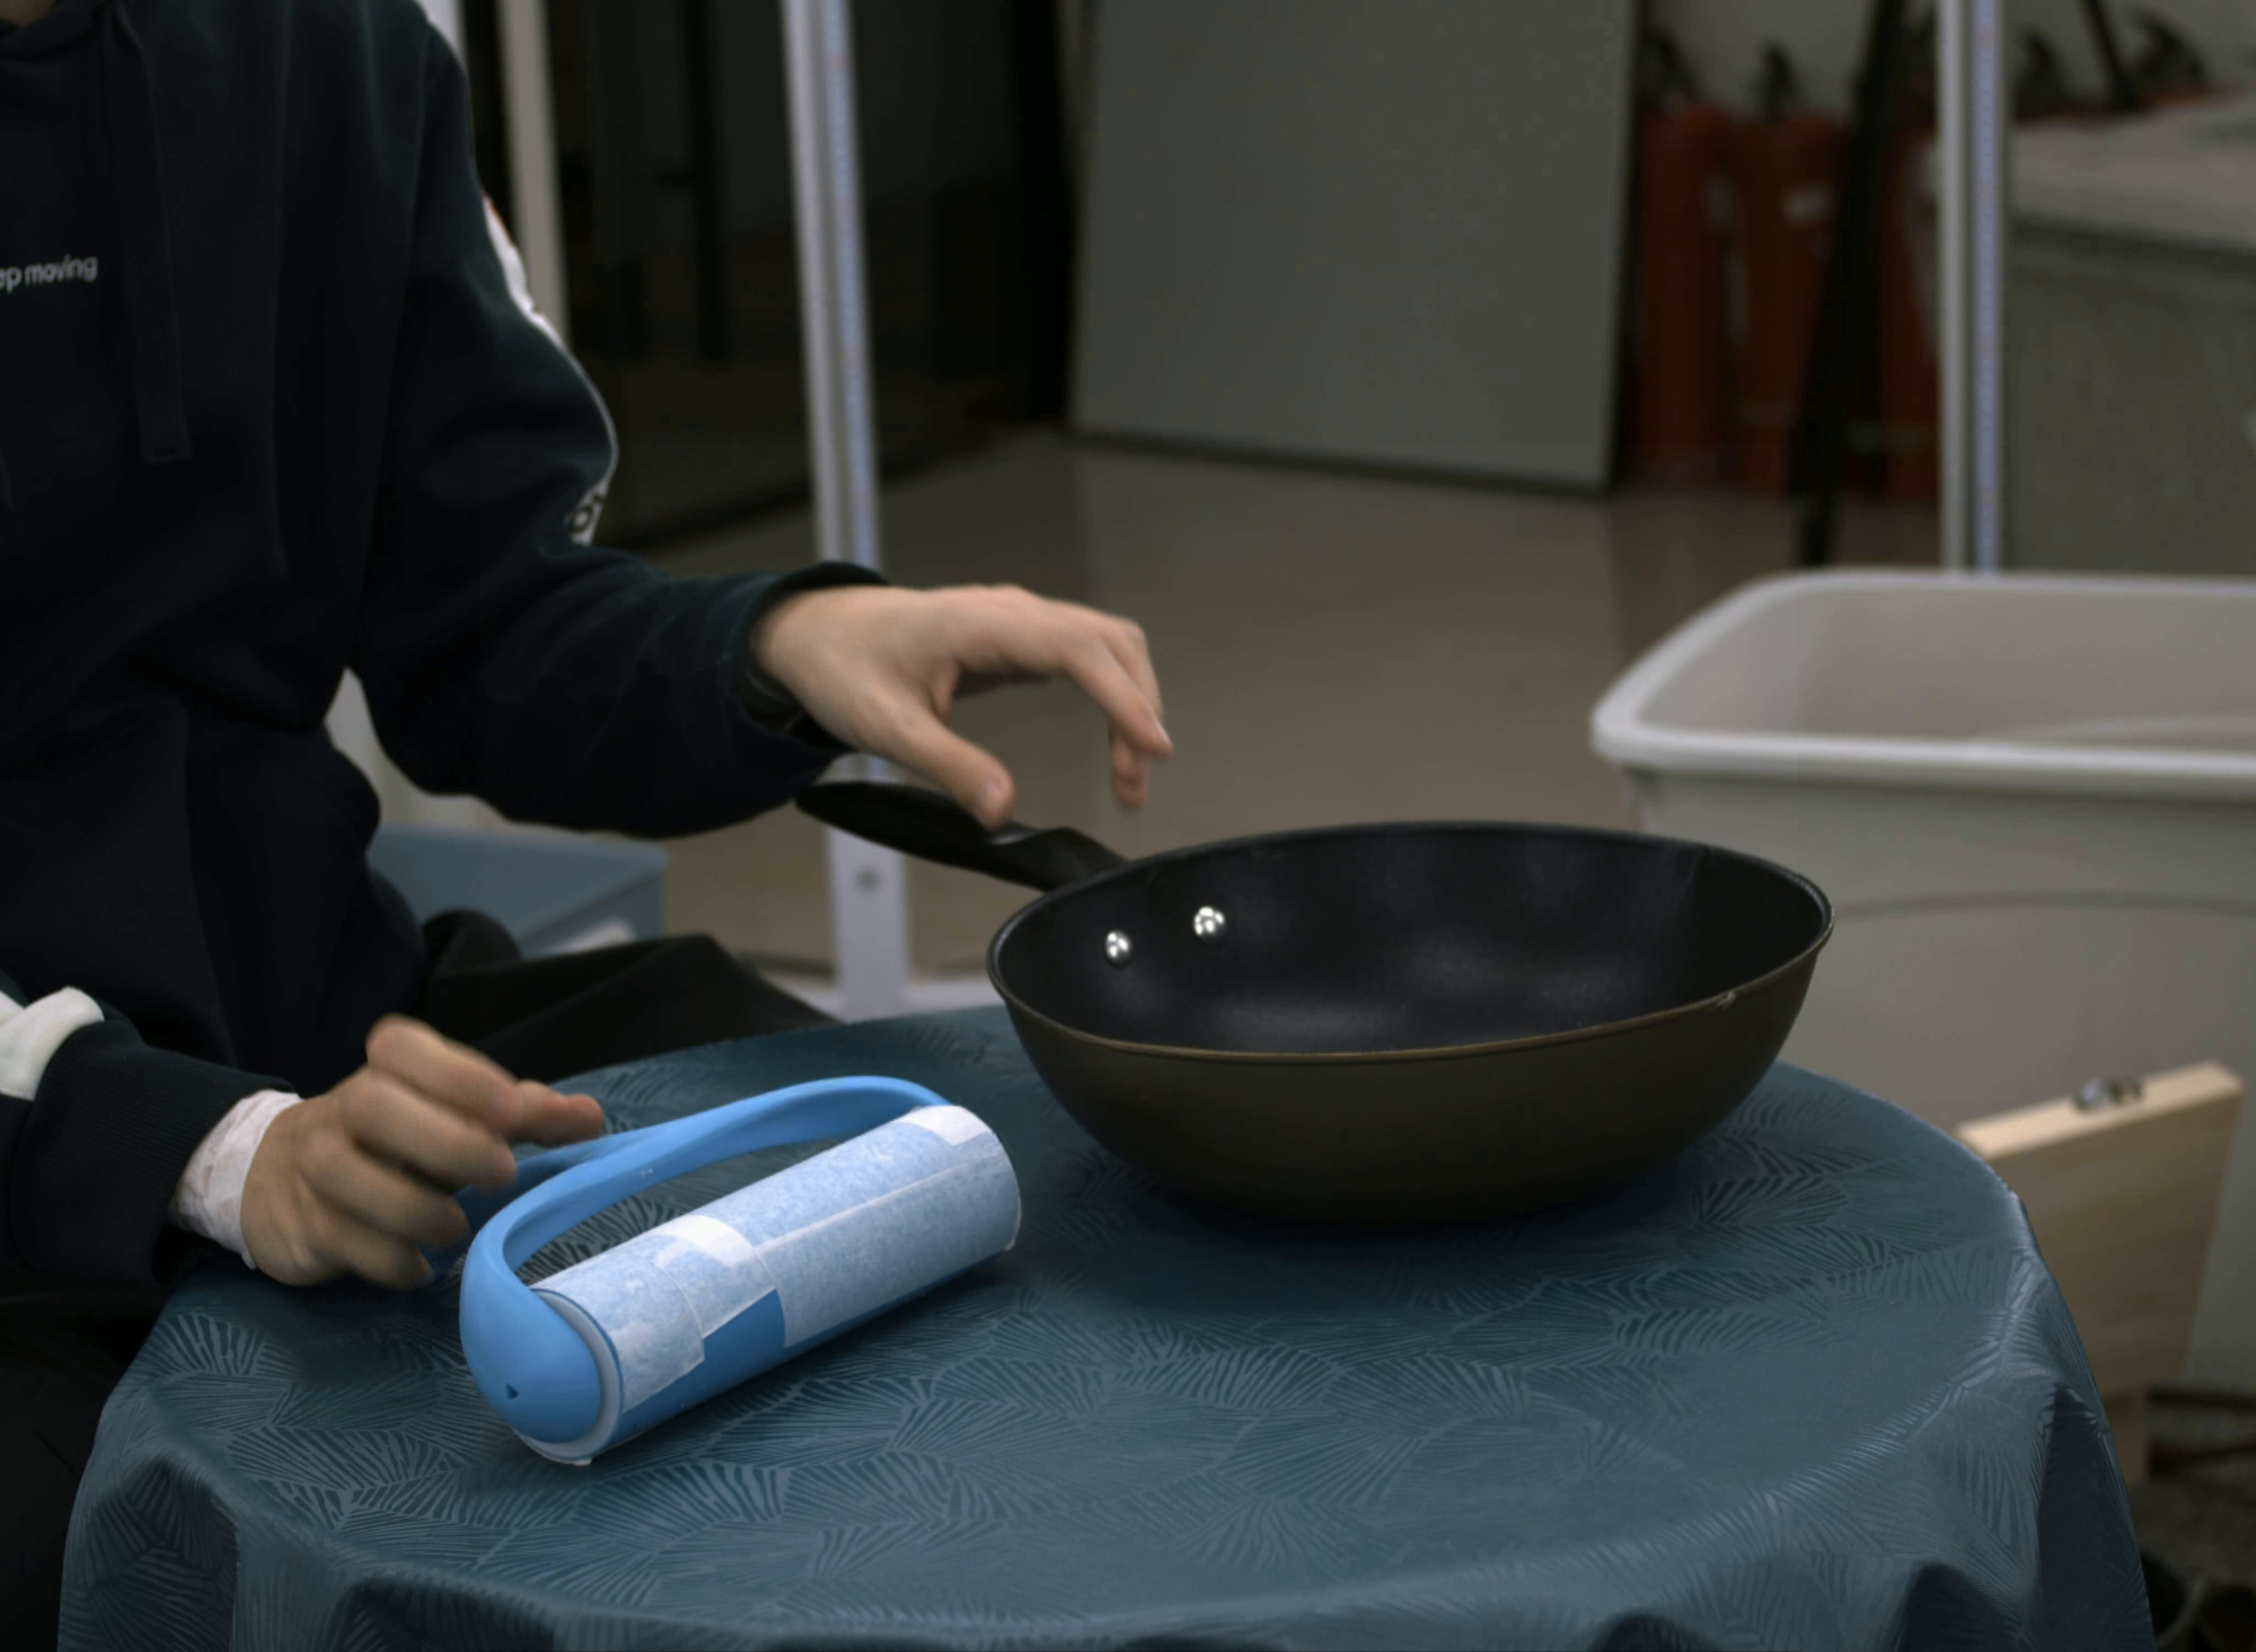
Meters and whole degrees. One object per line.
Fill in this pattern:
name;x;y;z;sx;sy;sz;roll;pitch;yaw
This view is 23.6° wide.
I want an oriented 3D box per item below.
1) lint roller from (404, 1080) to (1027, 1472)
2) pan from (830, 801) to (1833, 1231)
lint roller;-0.155;0.131;1.661;0.181;0.068;0.225;6;19;33
pan;0.036;0.060;1.842;0.282;0.088;0.468;-14;16;-37
